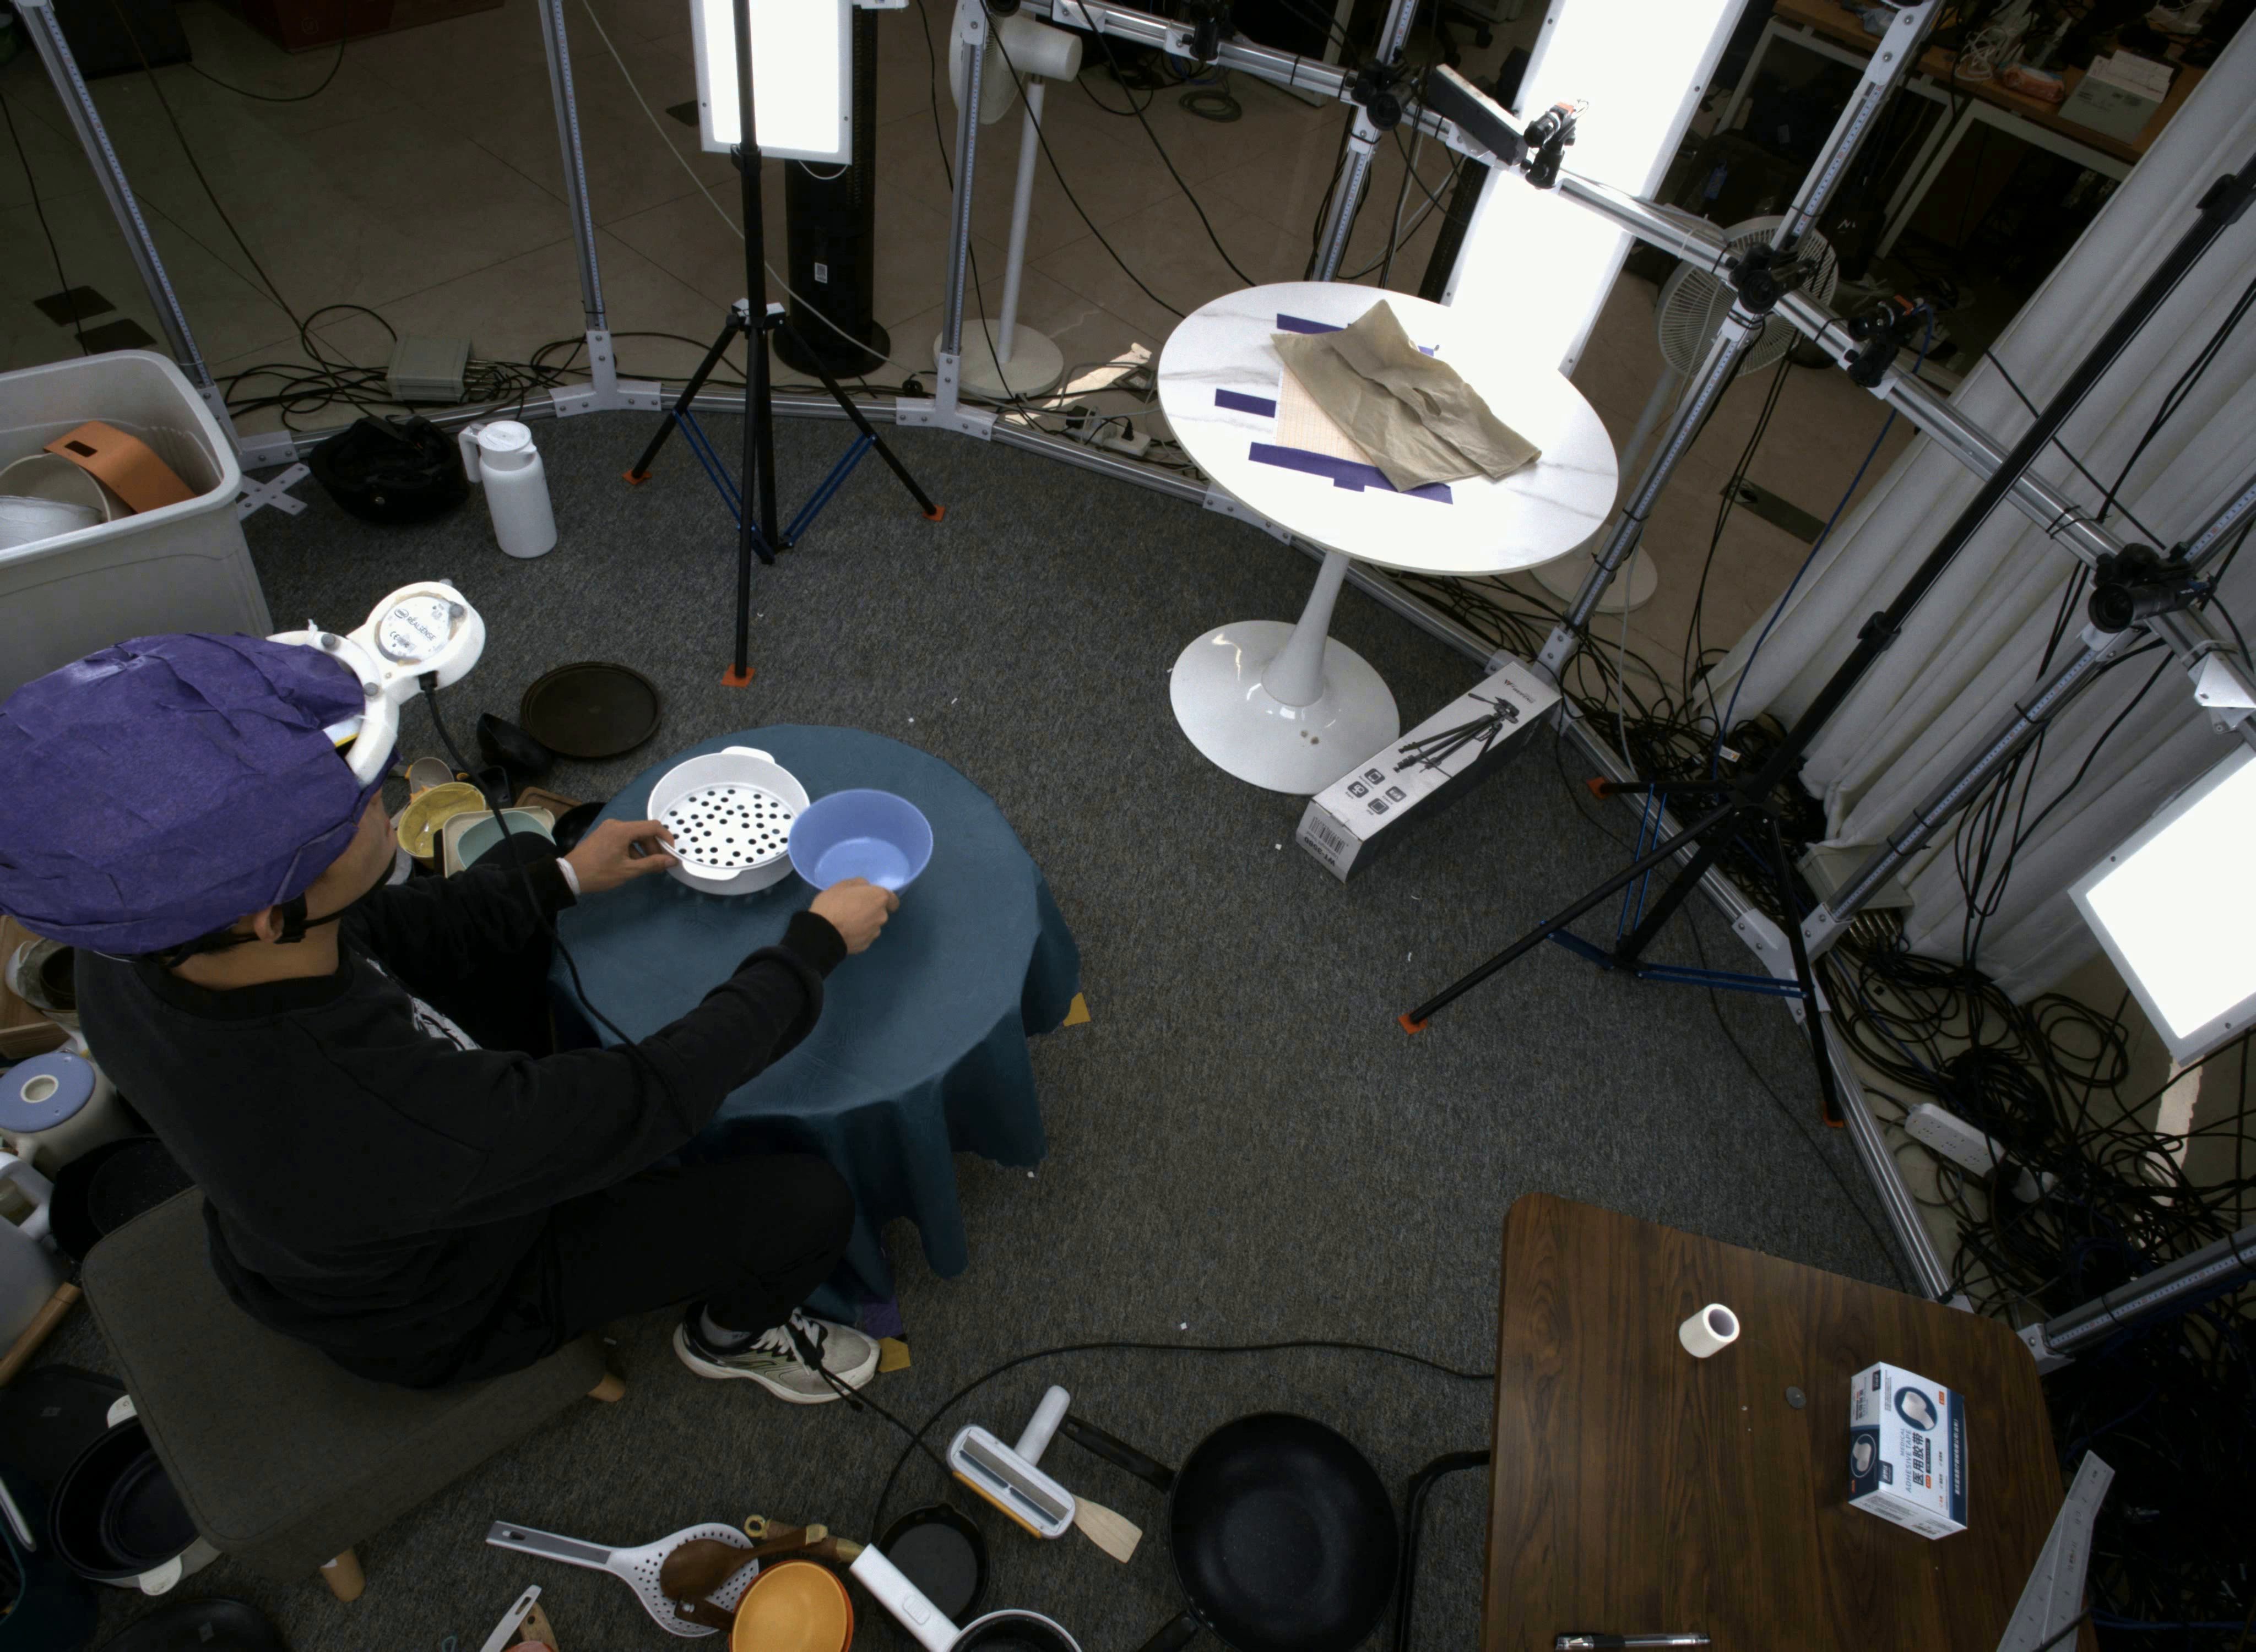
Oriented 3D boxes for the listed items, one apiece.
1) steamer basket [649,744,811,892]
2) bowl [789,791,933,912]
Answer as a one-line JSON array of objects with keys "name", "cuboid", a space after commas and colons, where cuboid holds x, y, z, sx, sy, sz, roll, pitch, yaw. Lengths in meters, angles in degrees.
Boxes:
[{"name": "steamer basket", "cuboid": [-0.511, -0.007, 1.660, 0.202, 0.070, 0.226, 11, 45, -10]}, {"name": "bowl", "cuboid": [-0.330, 0.041, 1.617, 0.175, 0.072, 0.172, 6, 47, -5]}]
